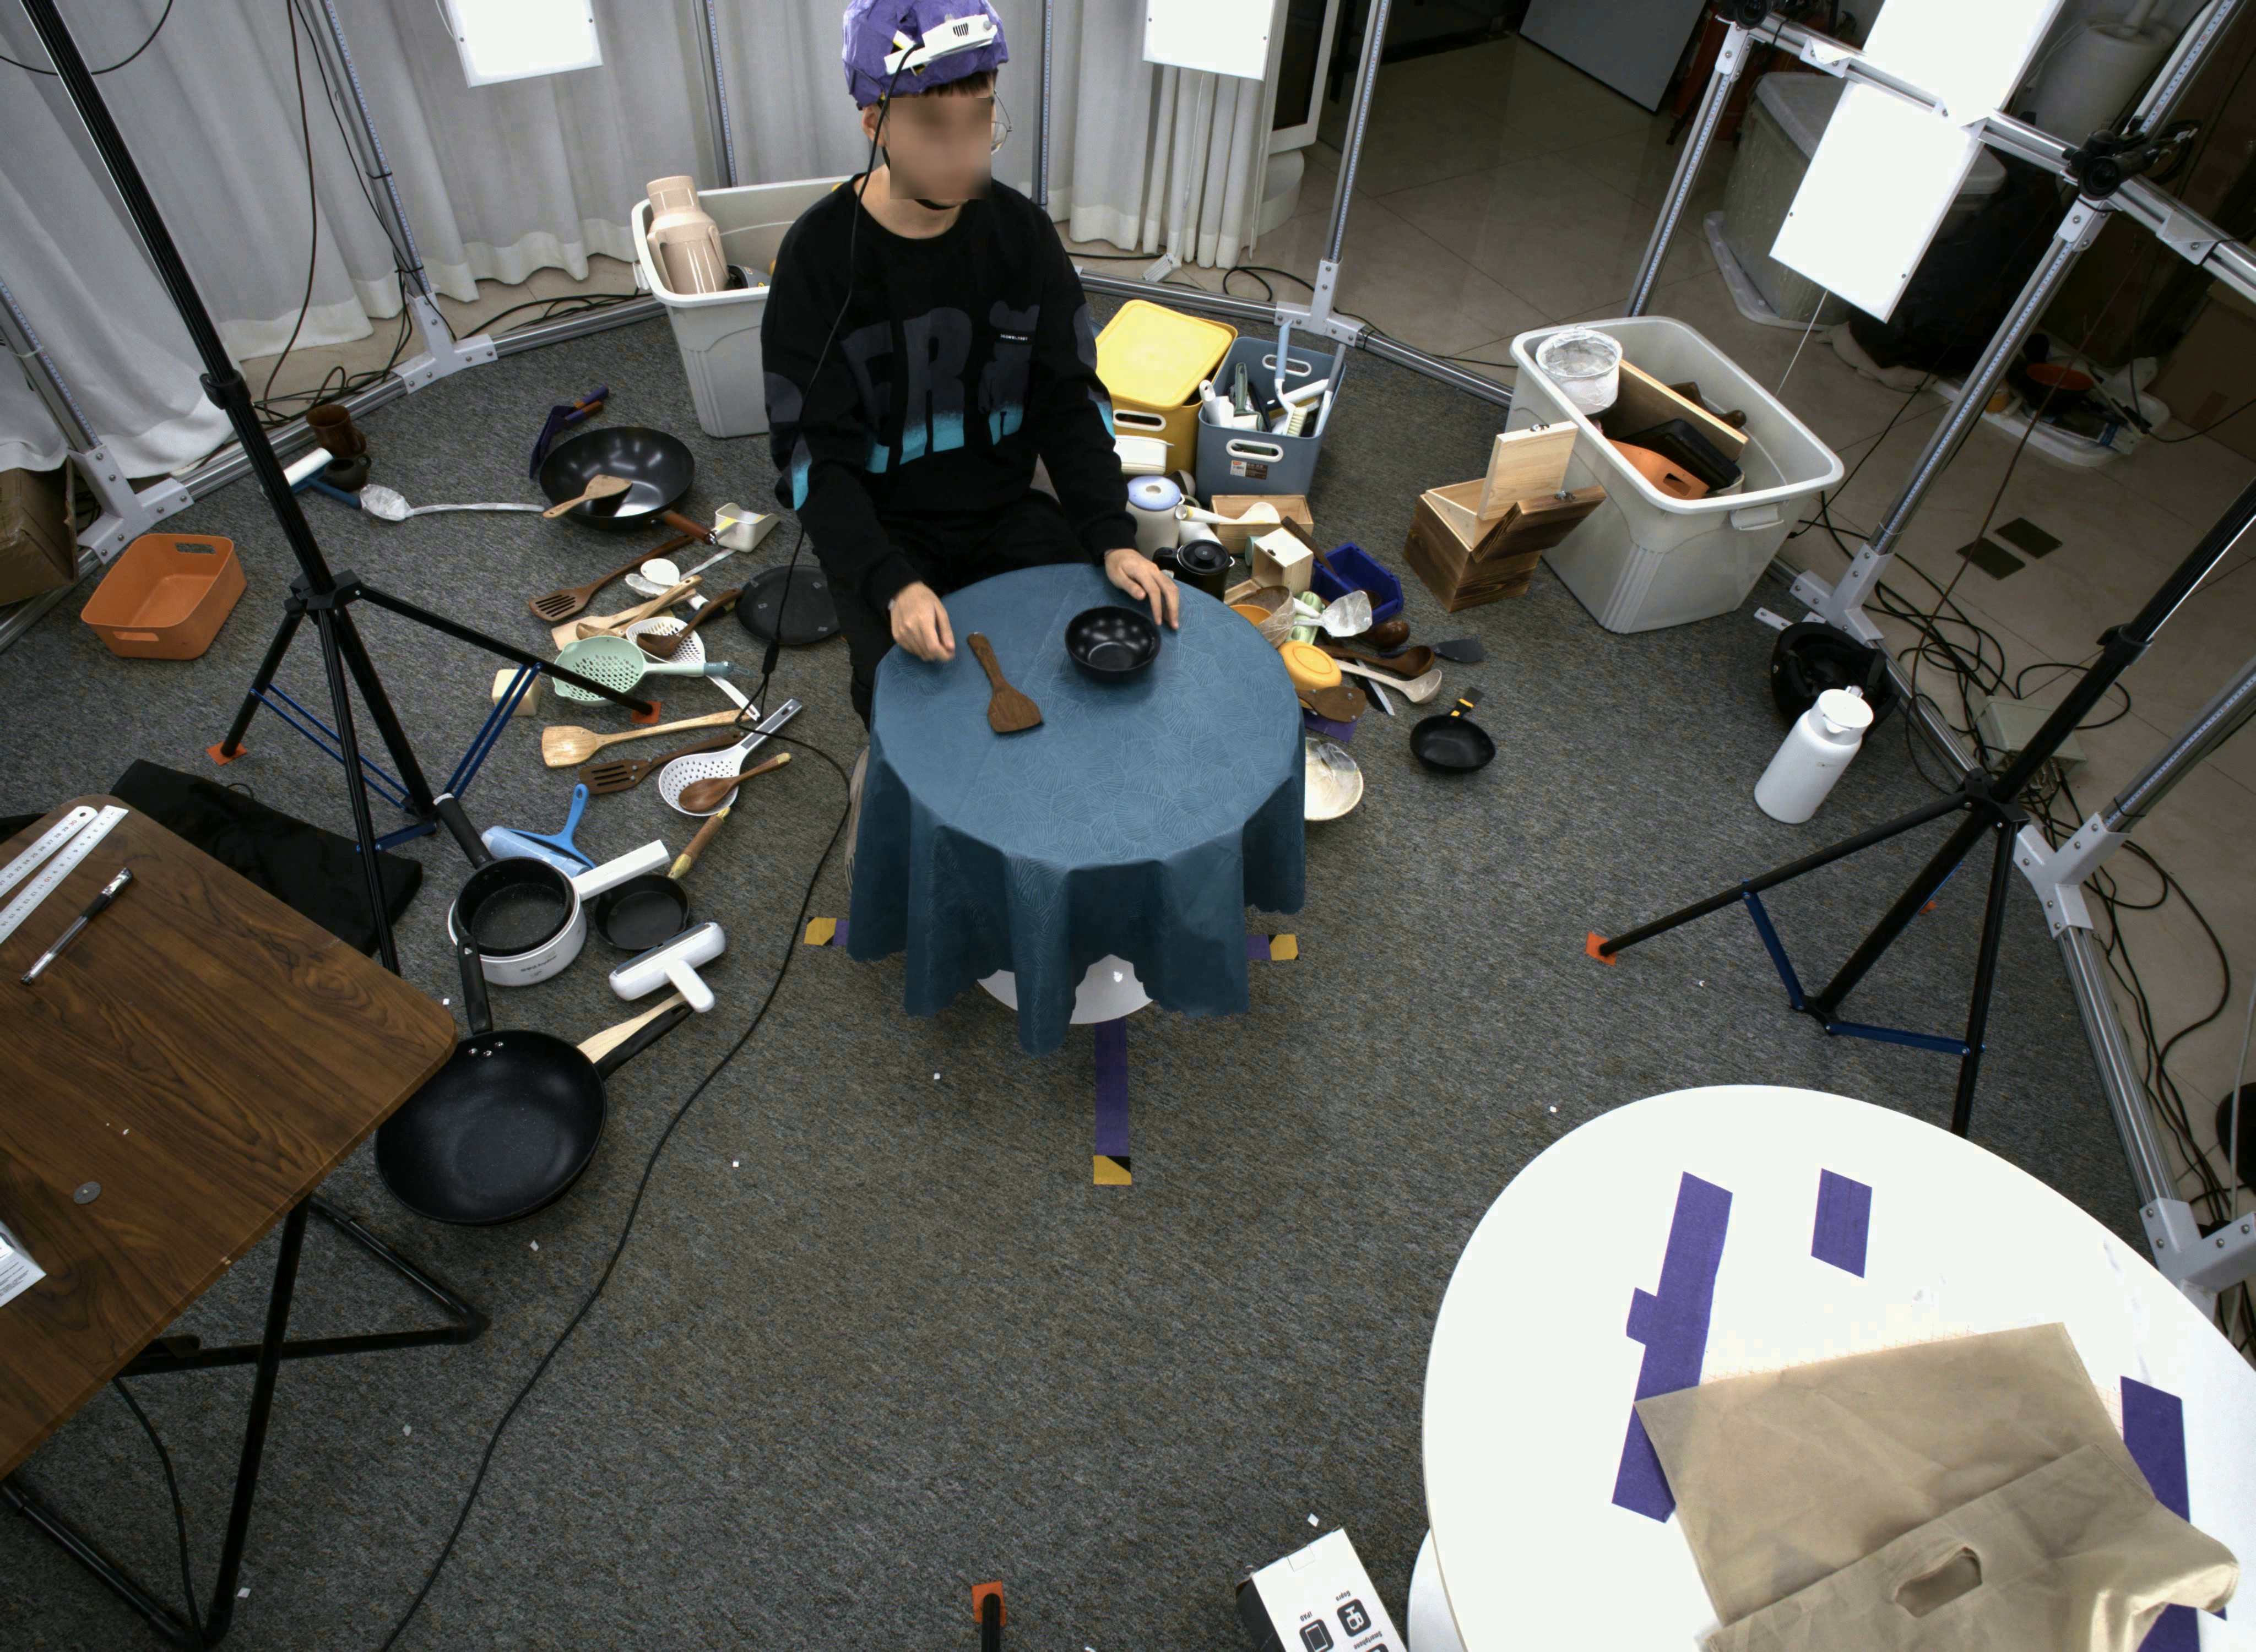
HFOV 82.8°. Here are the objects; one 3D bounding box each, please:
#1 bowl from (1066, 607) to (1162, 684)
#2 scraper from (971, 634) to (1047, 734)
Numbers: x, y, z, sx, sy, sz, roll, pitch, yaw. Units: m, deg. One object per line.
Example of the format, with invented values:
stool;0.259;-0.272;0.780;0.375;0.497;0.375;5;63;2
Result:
bowl;-0.020;-0.255;1.873;0.140;0.048;0.143;1;51;-1
scraper;-0.183;-0.207;1.847;0.076;0.010;0.216;-14;50;-17
